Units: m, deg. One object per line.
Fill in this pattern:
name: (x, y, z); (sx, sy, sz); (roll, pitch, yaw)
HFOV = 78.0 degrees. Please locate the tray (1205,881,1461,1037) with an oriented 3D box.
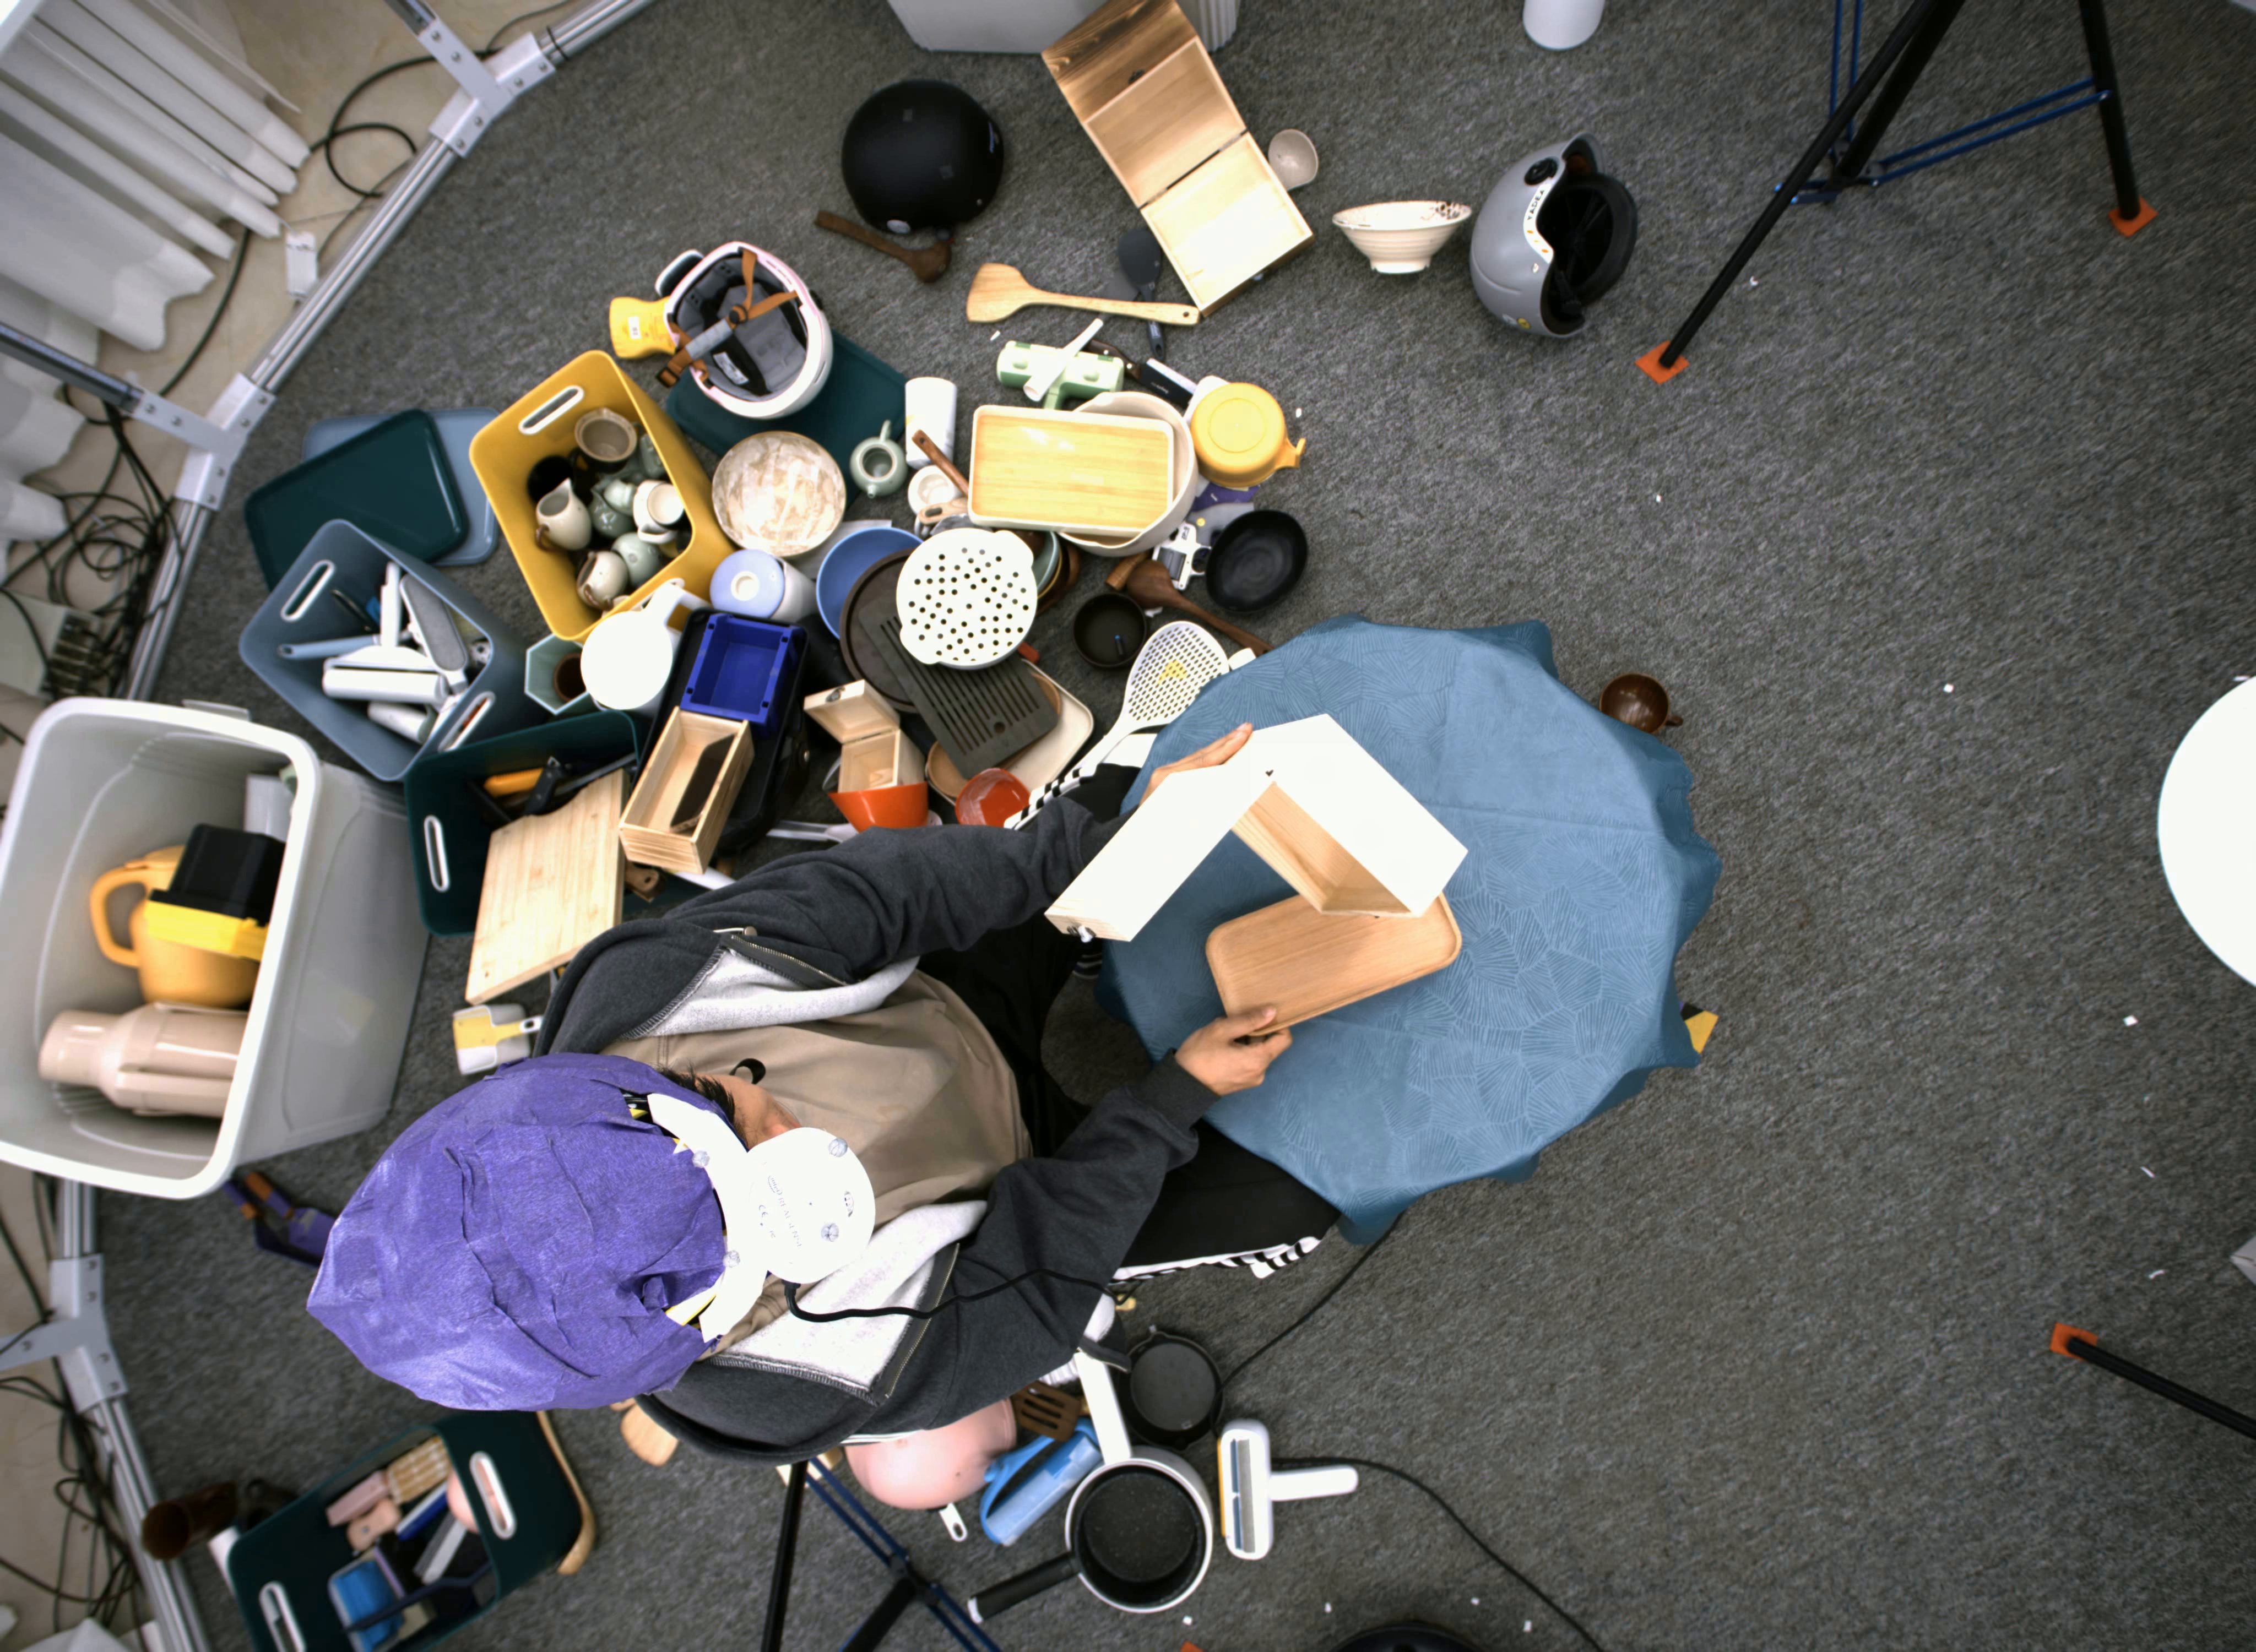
tray: (0.209, 0.122, 1.421); (0.252, 0.023, 0.128); (-21, 64, 7)

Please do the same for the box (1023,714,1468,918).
box: (0.101, 0.036, 1.222); (0.266, 0.182, 0.251); (42, 79, -14)
